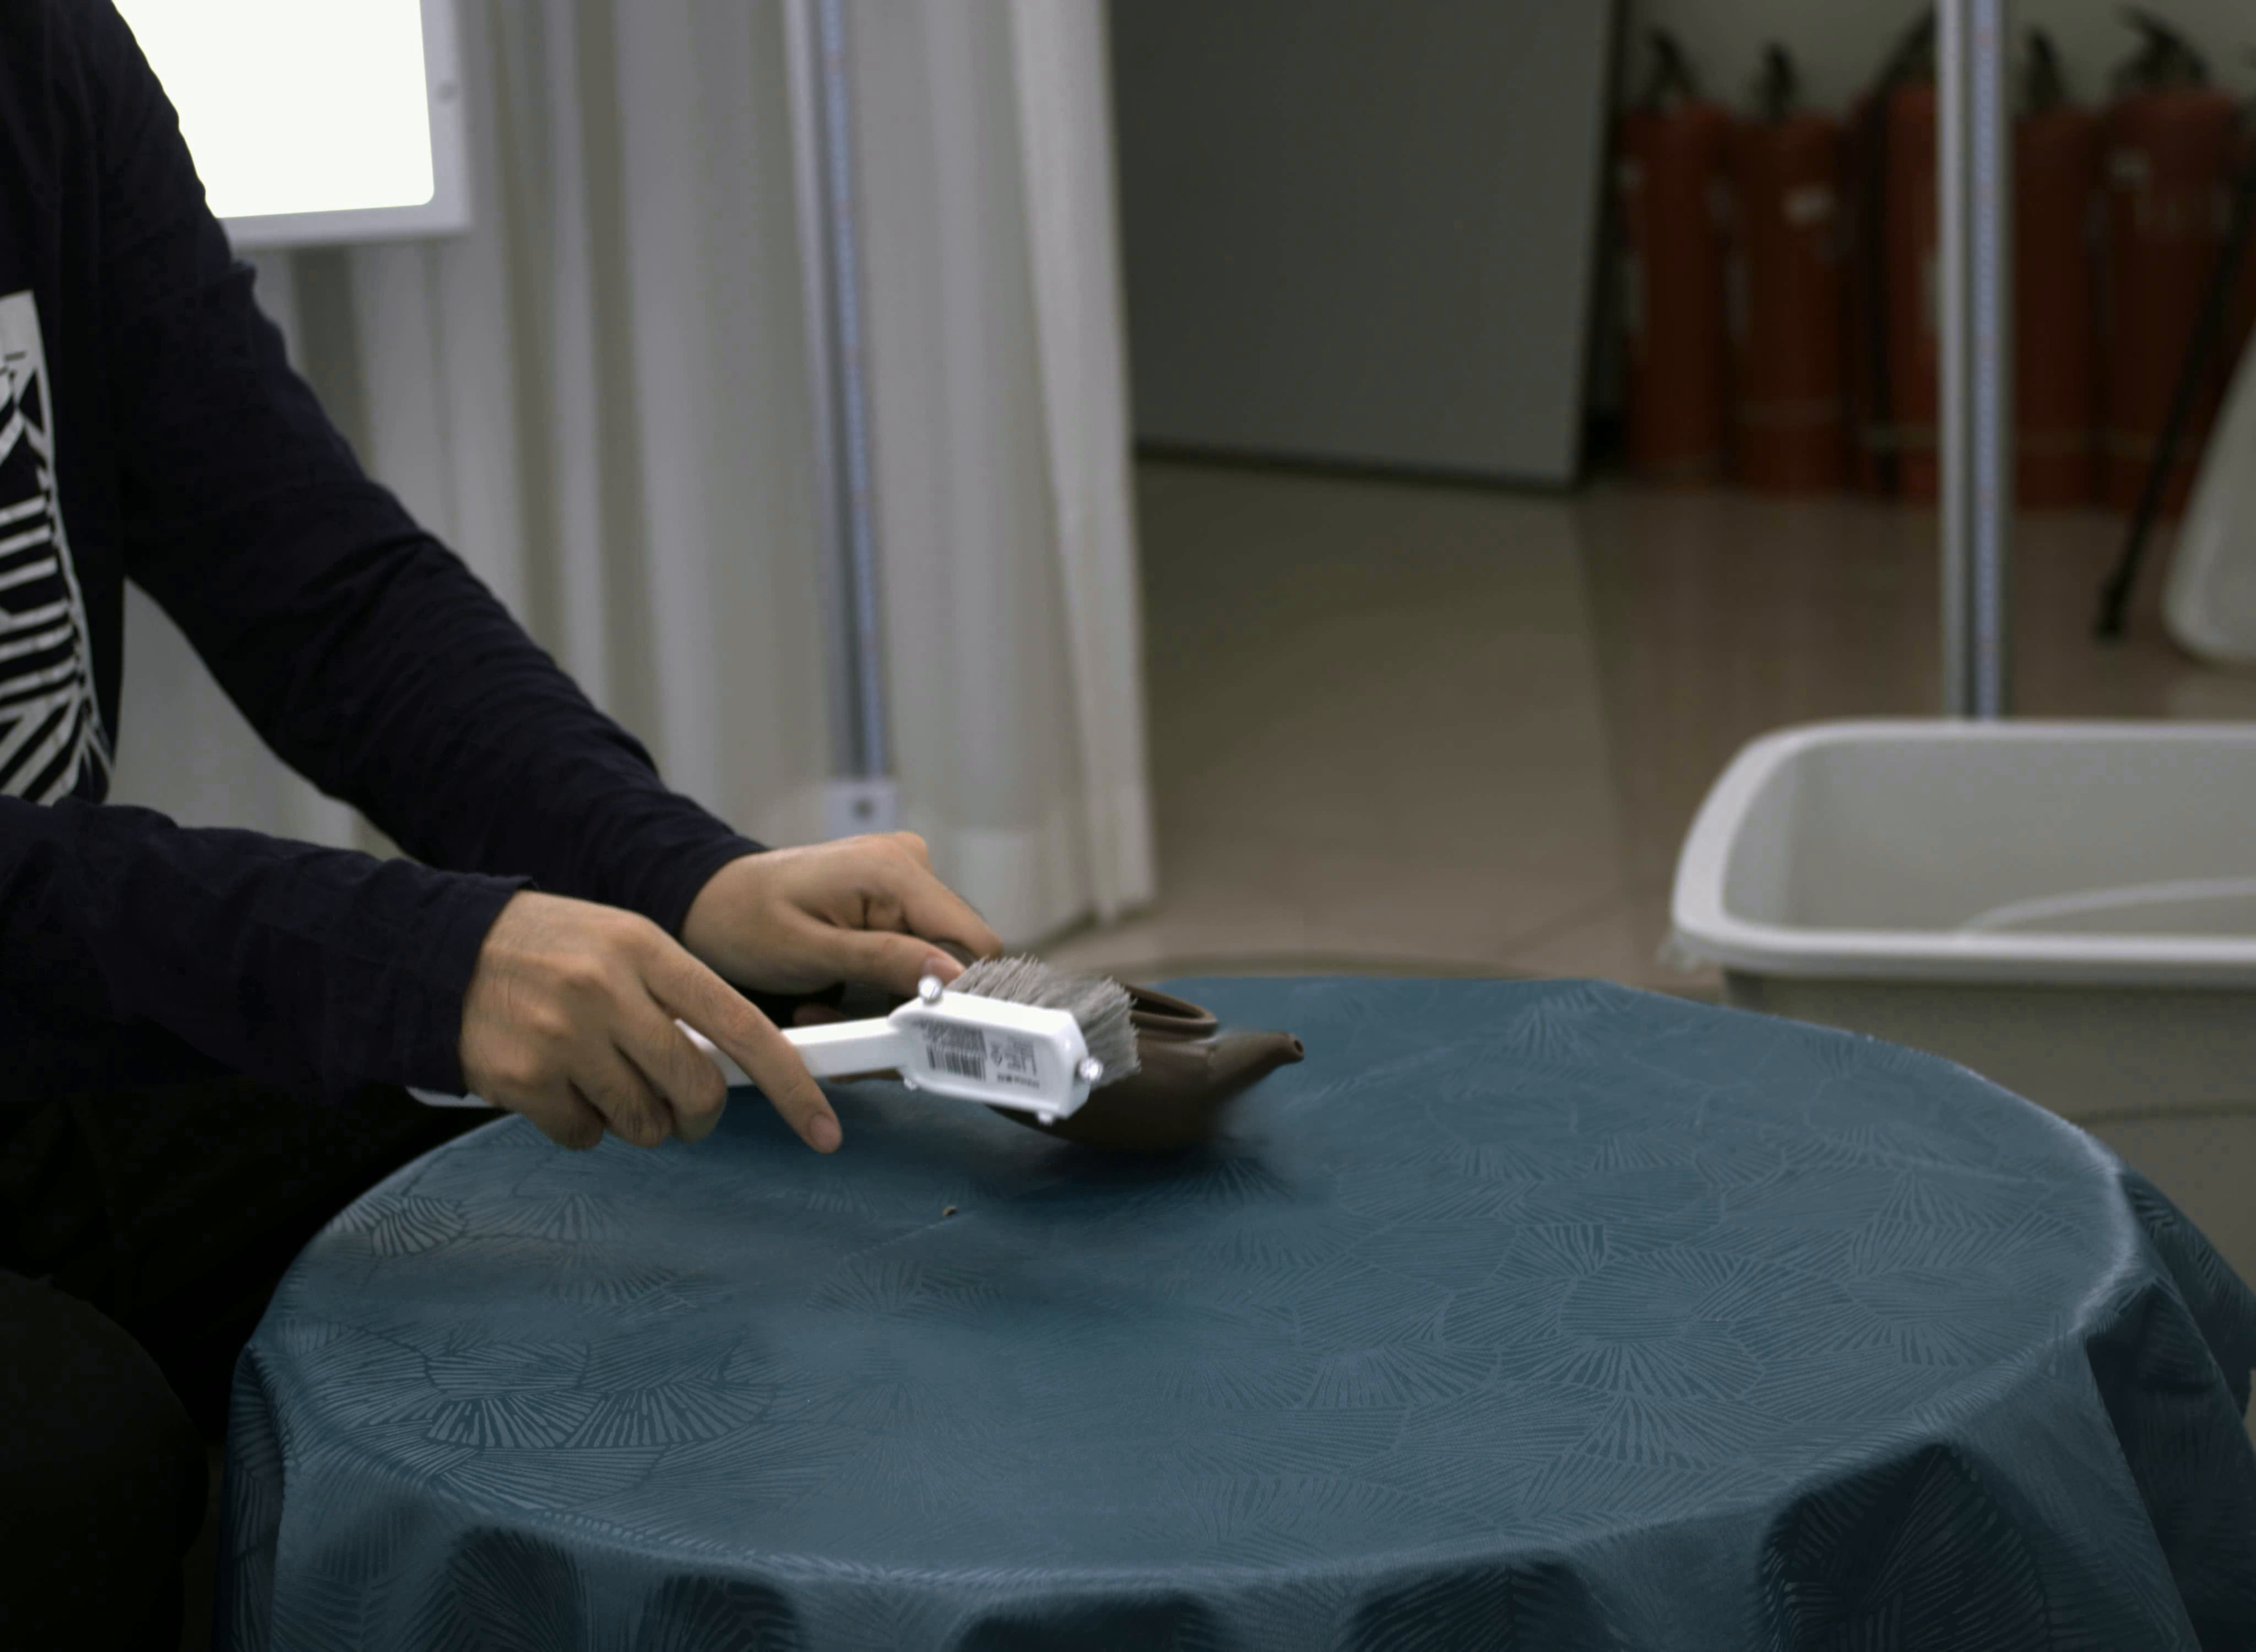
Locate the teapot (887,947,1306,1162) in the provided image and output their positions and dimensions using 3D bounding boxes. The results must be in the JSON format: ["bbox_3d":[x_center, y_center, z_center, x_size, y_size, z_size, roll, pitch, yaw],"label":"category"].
[{"bbox_3d":[-0.013,0.078,1.811,0.153,0.054,0.101,16,7,21],"label":"teapot"}]

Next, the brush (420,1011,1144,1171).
[{"bbox_3d":[-0.111,0.081,1.732,0.243,0.034,0.050,1,28,21],"label":"brush"}]
